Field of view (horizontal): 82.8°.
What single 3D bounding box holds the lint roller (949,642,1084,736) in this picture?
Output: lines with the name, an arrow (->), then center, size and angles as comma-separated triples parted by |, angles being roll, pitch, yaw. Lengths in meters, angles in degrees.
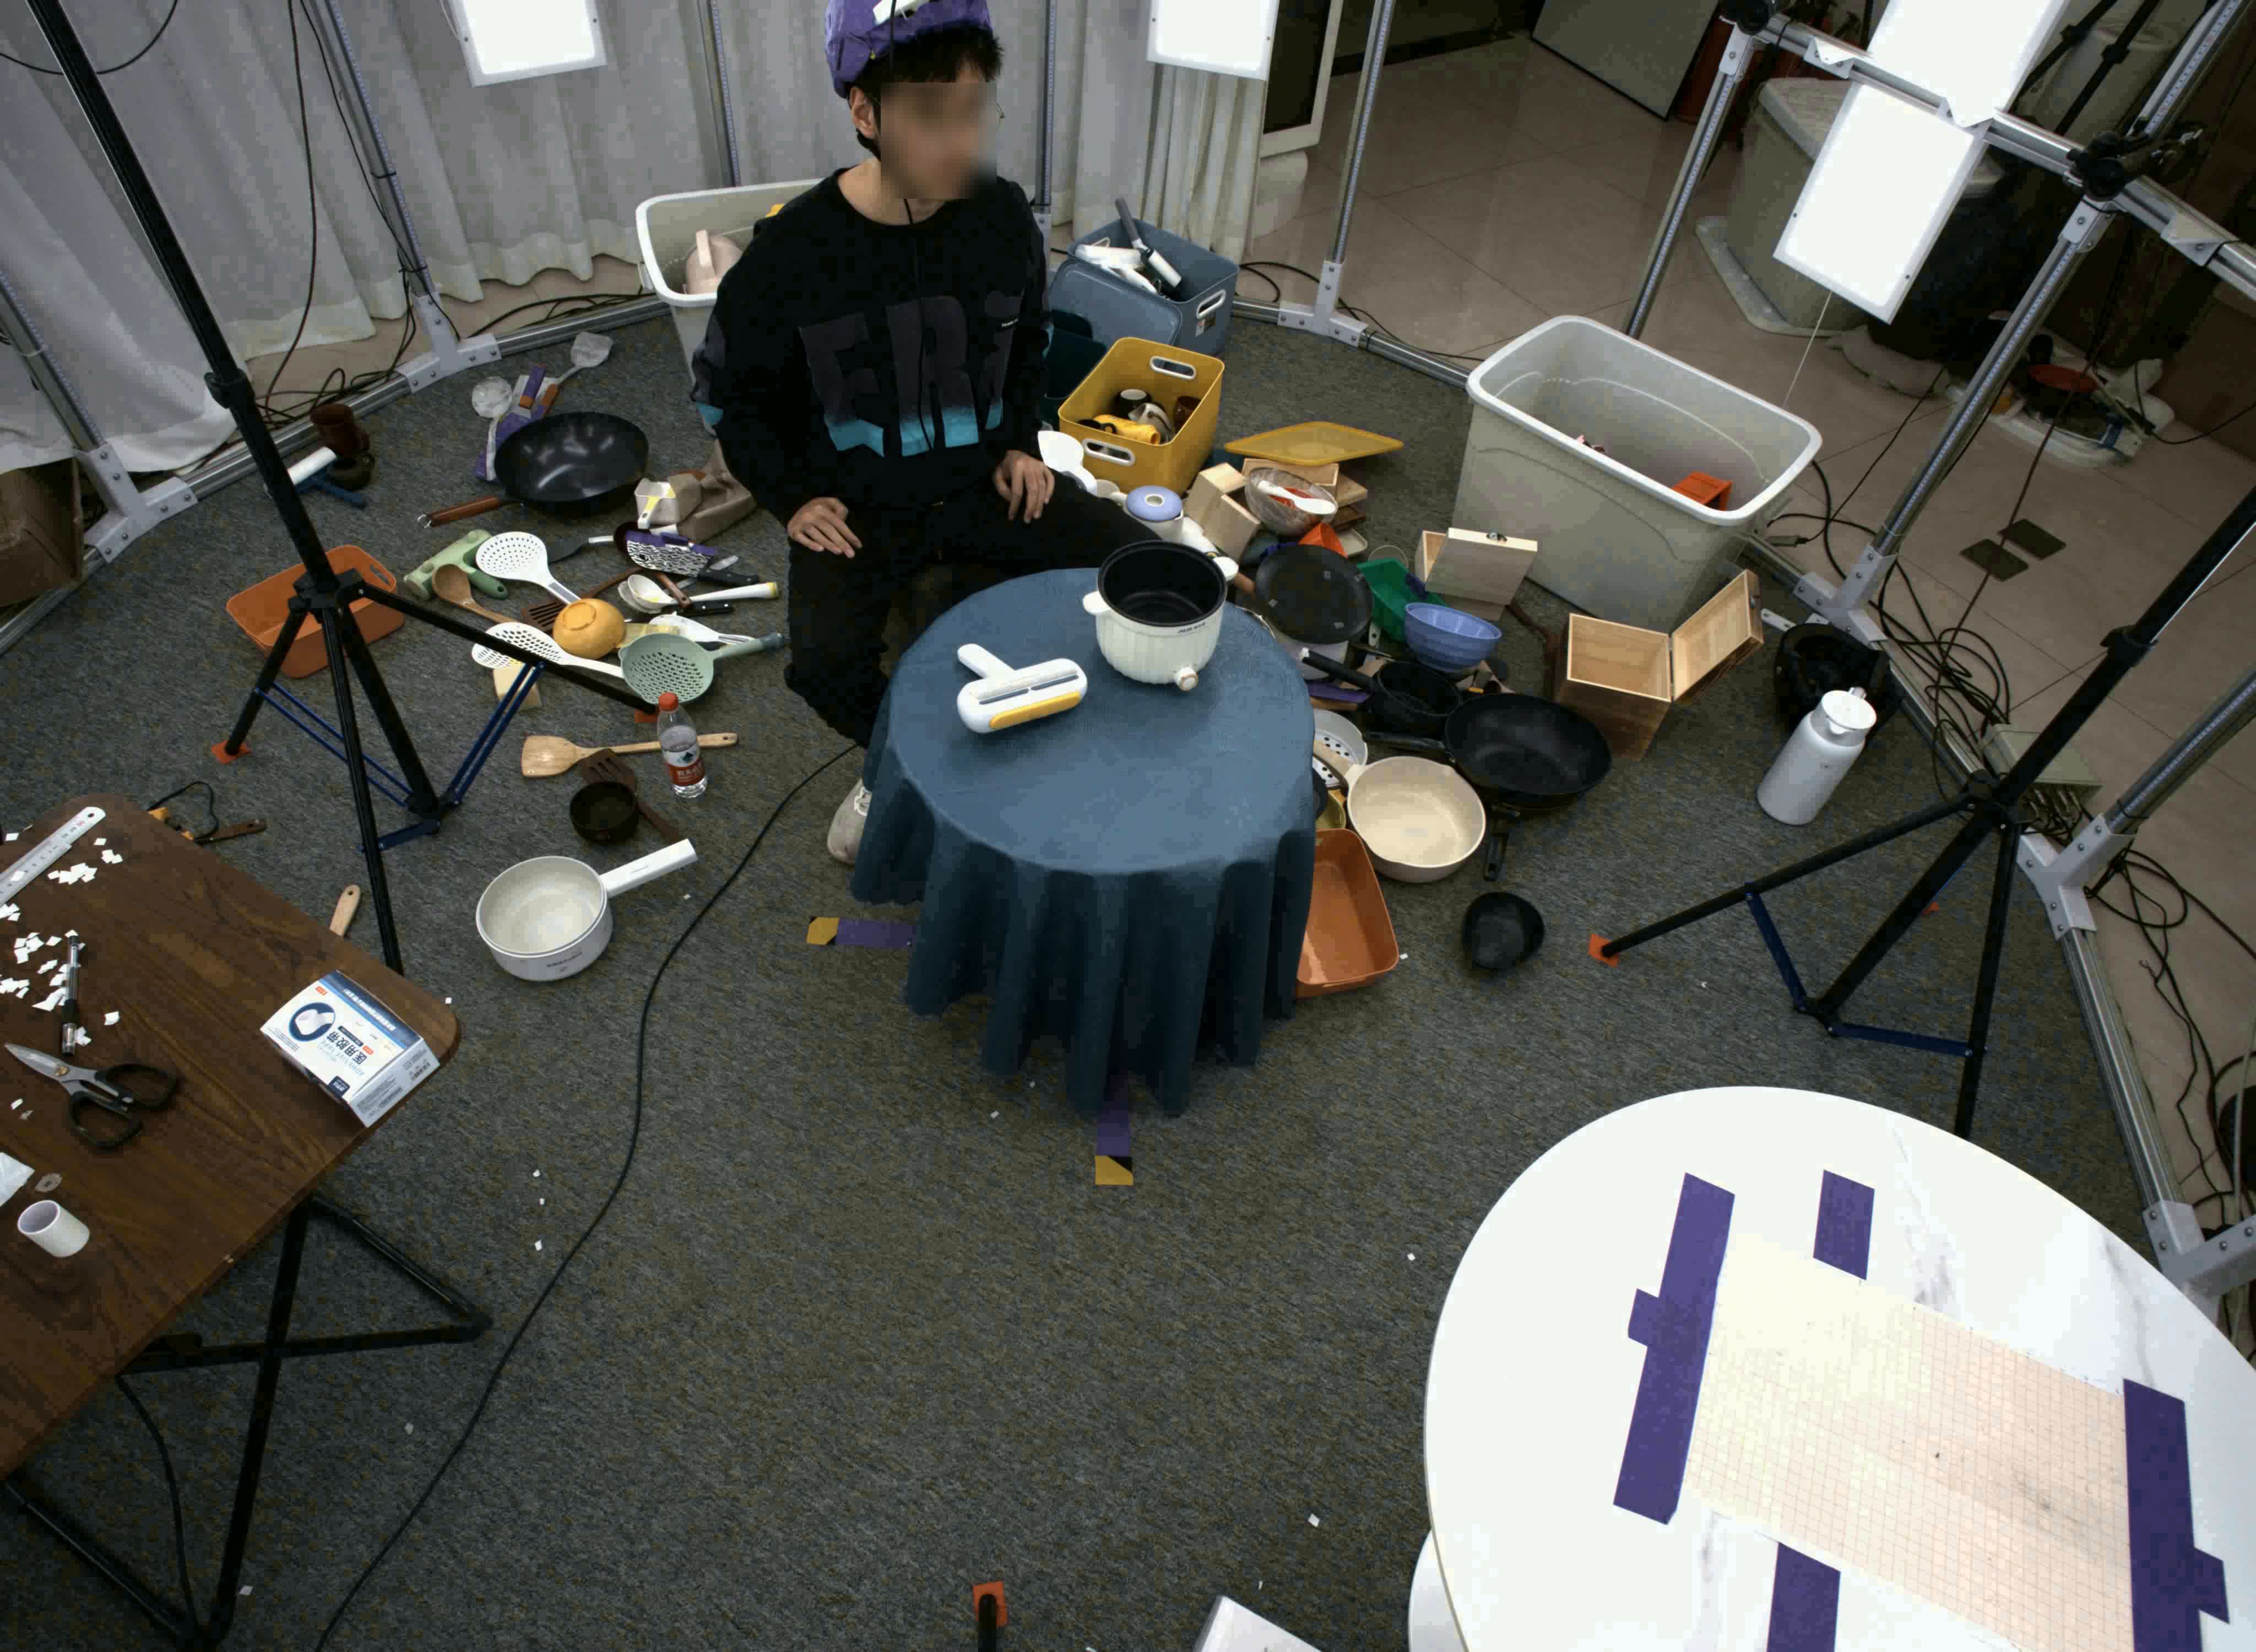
lint roller -> -0.181, -0.210, 1.795 | 0.193, 0.072, 0.196 | -19, 51, -26

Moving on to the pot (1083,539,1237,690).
pot -> 0.048, -0.296, 1.838 | 0.241, 0.139, 0.195 | -20, 51, -18
